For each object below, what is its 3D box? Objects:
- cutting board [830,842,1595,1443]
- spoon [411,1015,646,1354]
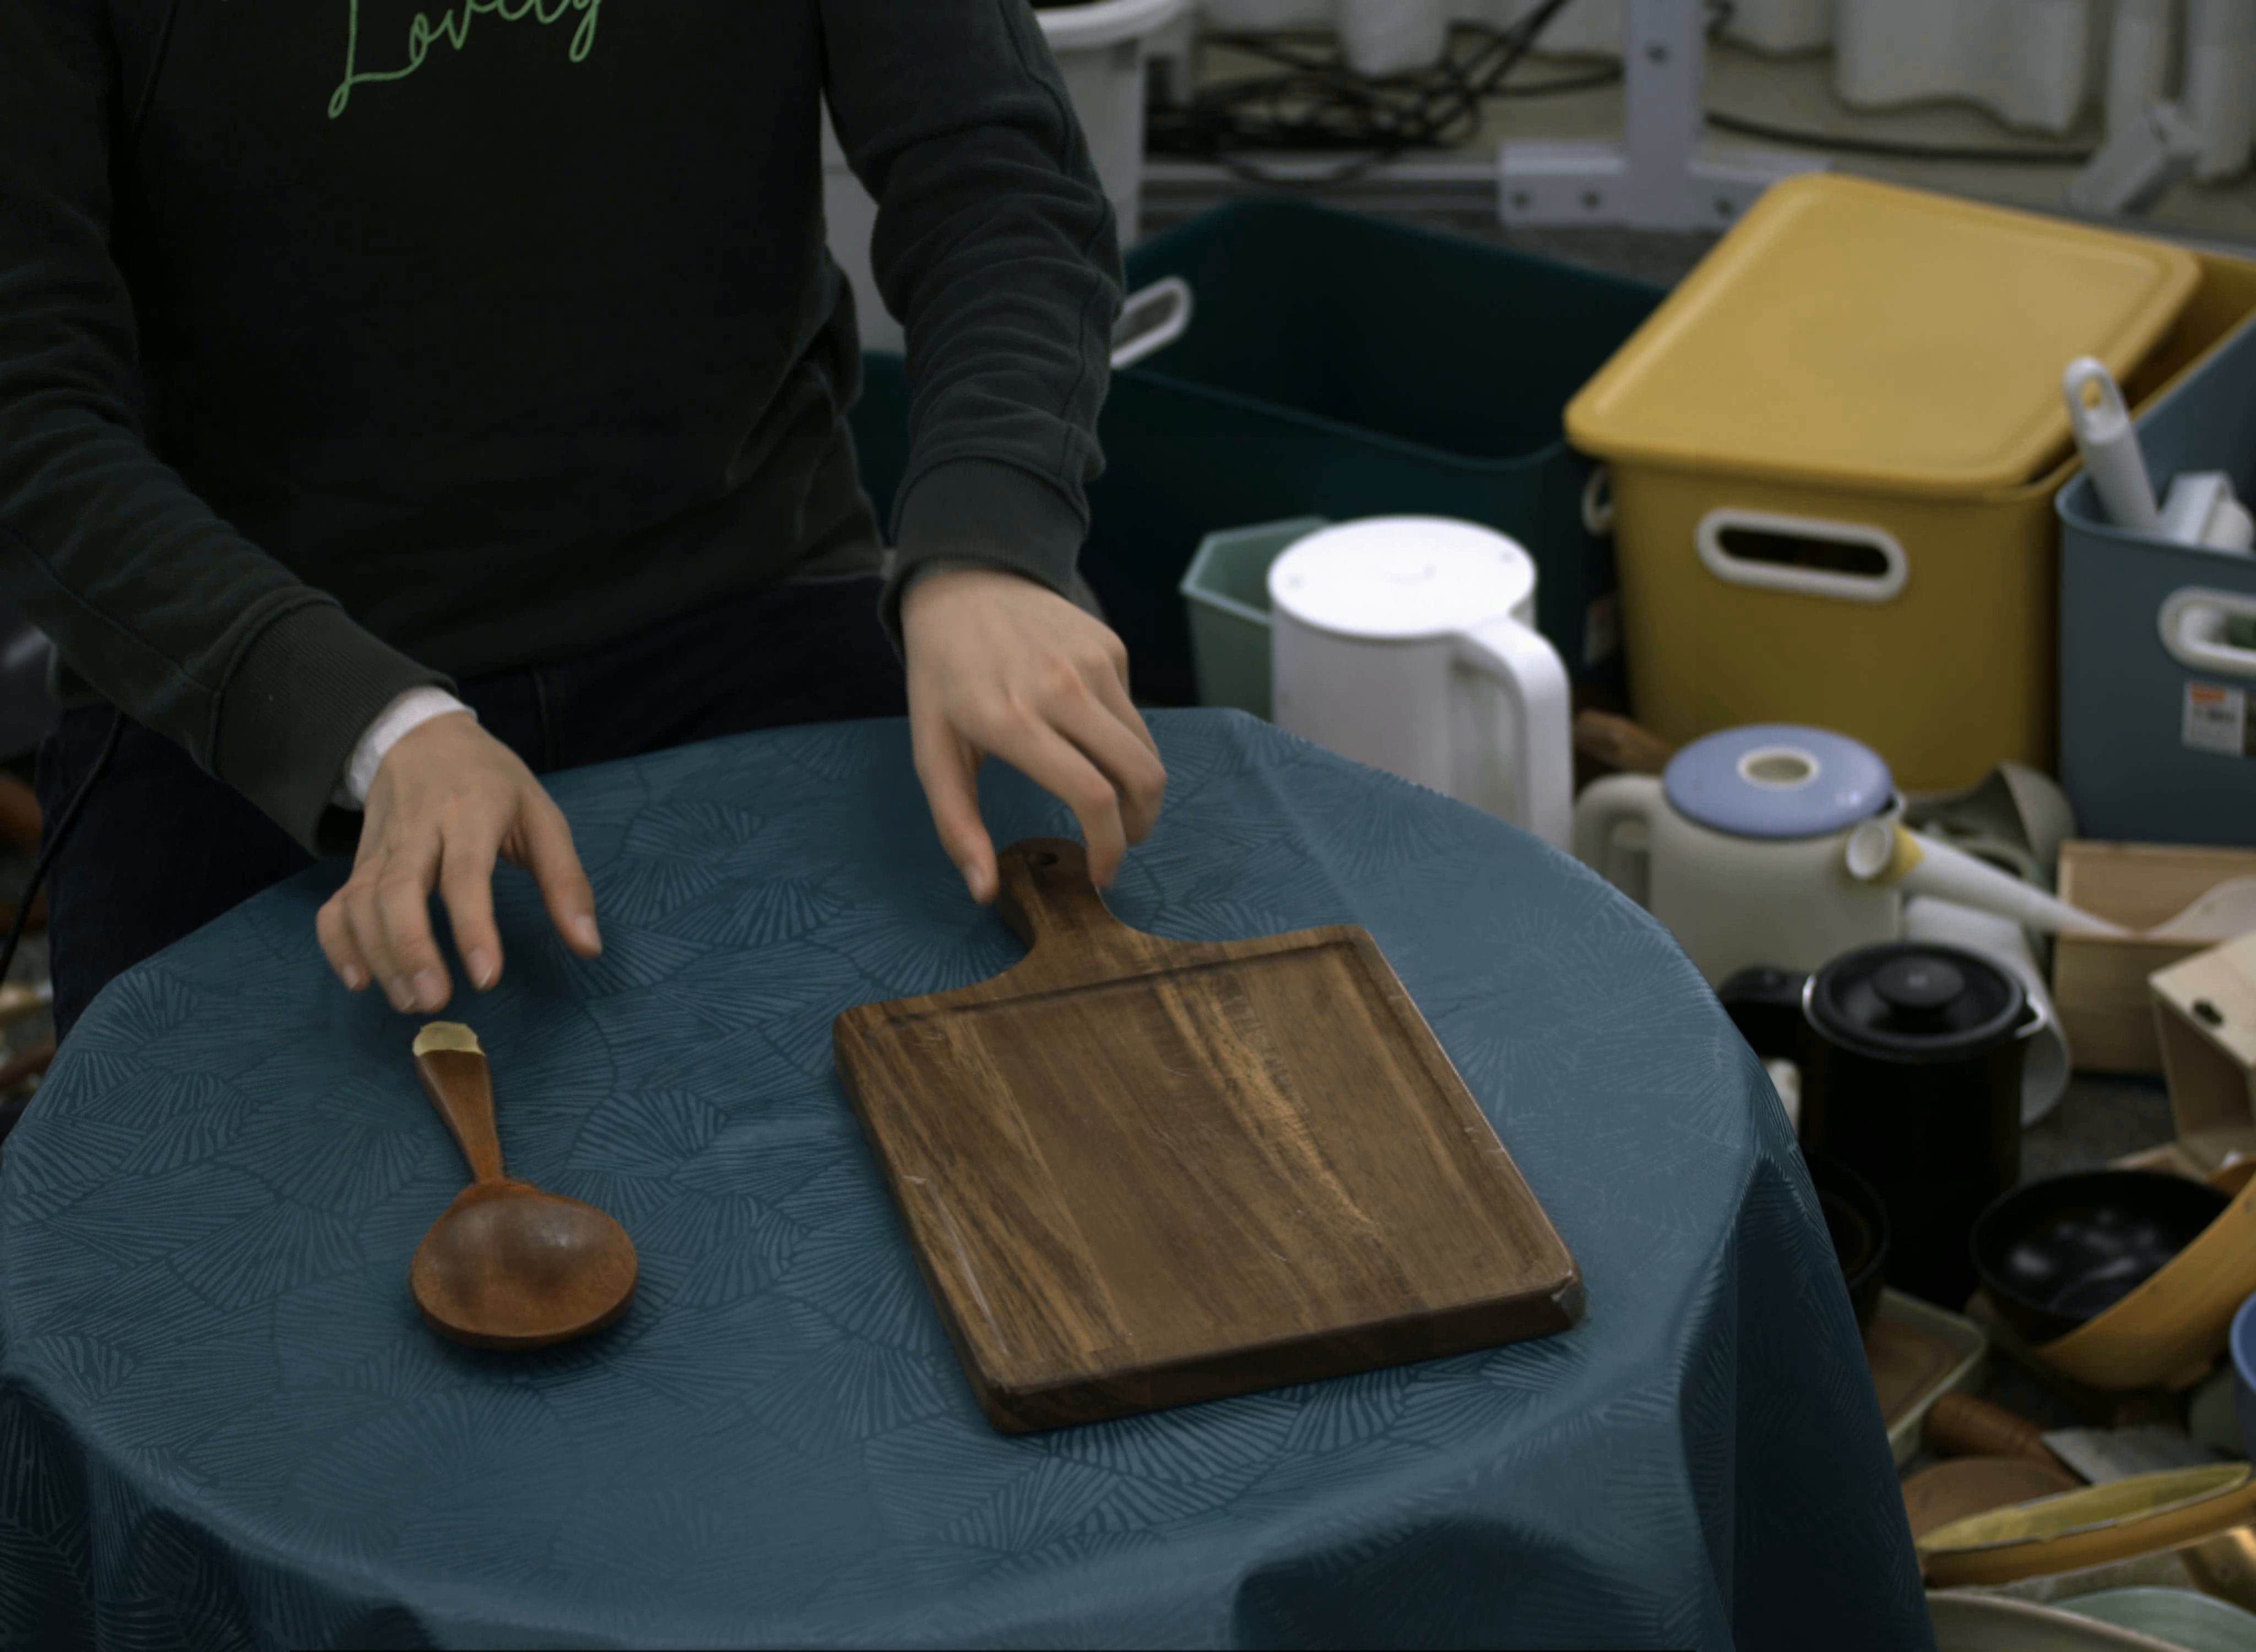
[{"bbox_3d":[0.010,0.091,1.900,0.201,0.023,0.356,-10,28,-11],"label":"cutting board"},{"bbox_3d":[-0.210,0.120,1.866,0.075,0.017,0.218,-11,29,-12],"label":"spoon"}]
